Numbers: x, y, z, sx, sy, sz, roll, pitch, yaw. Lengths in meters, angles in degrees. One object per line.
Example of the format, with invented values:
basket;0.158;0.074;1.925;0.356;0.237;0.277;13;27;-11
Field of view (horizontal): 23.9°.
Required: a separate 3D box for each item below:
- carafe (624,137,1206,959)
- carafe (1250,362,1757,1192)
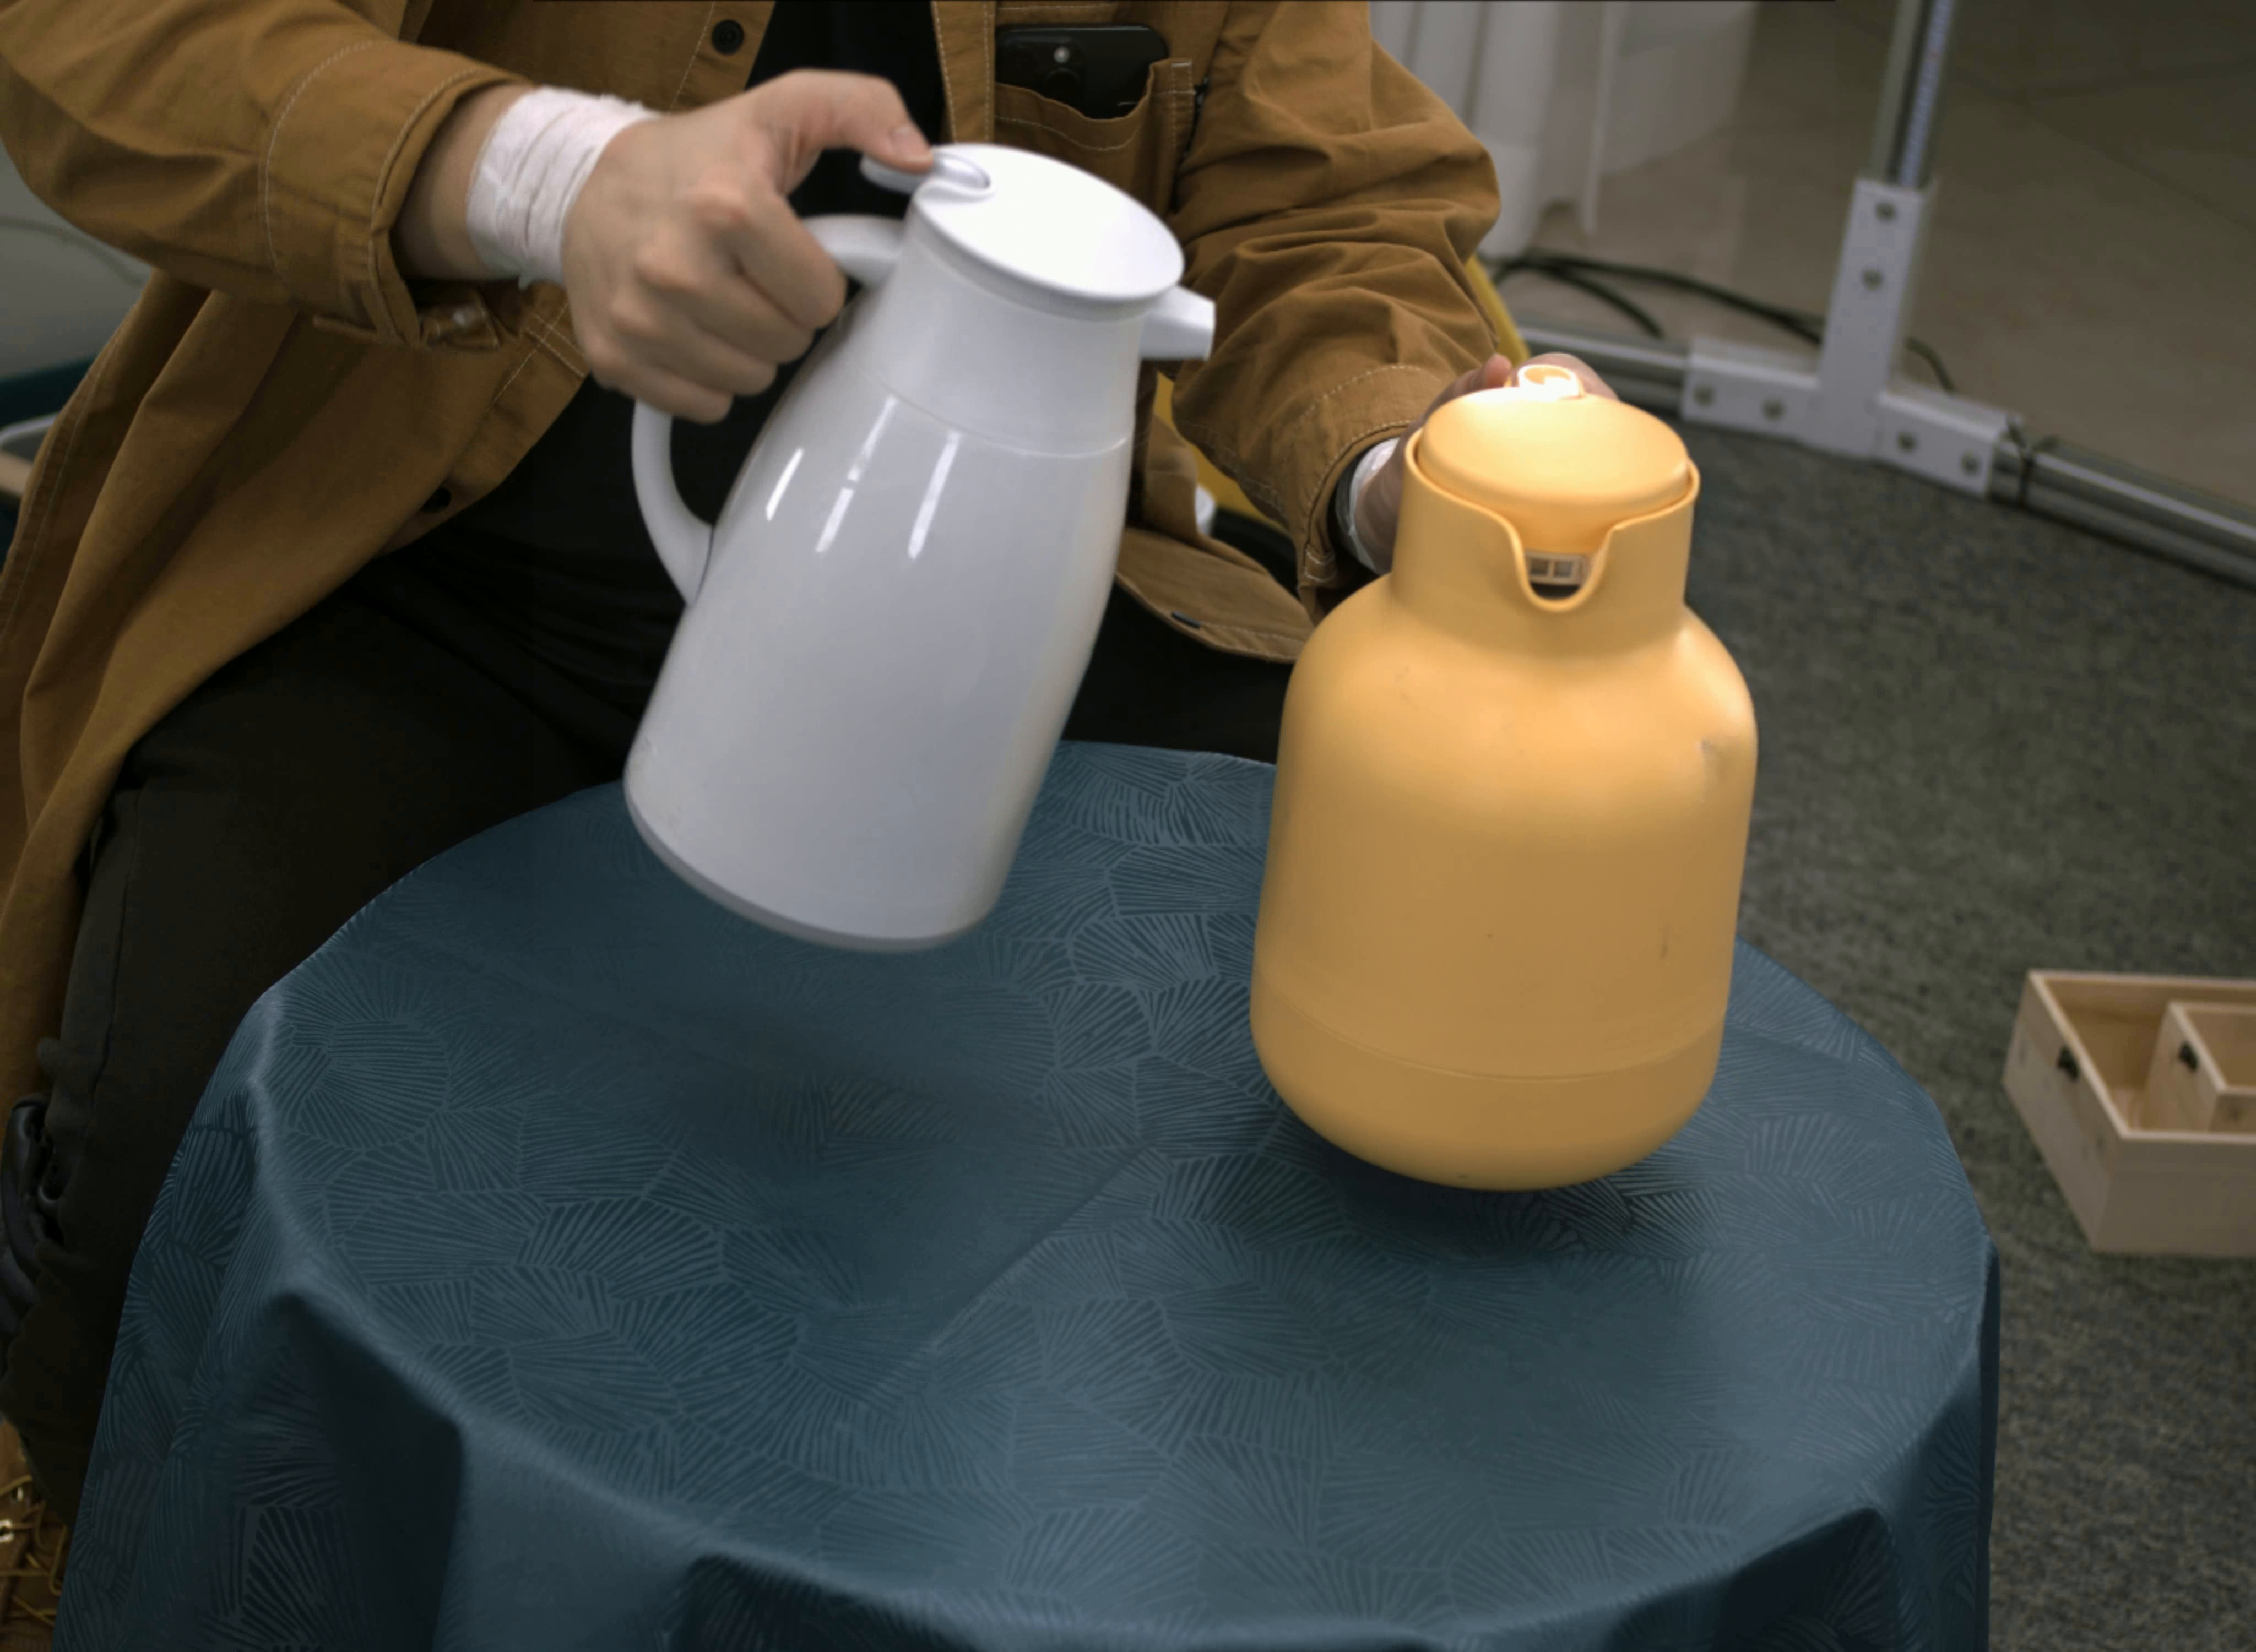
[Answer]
carafe;-0.084;-0.100;1.716;0.167;0.248;0.133;16;29;-8
carafe;0.133;-0.026;1.807;0.163;0.259;0.203;7;28;1
